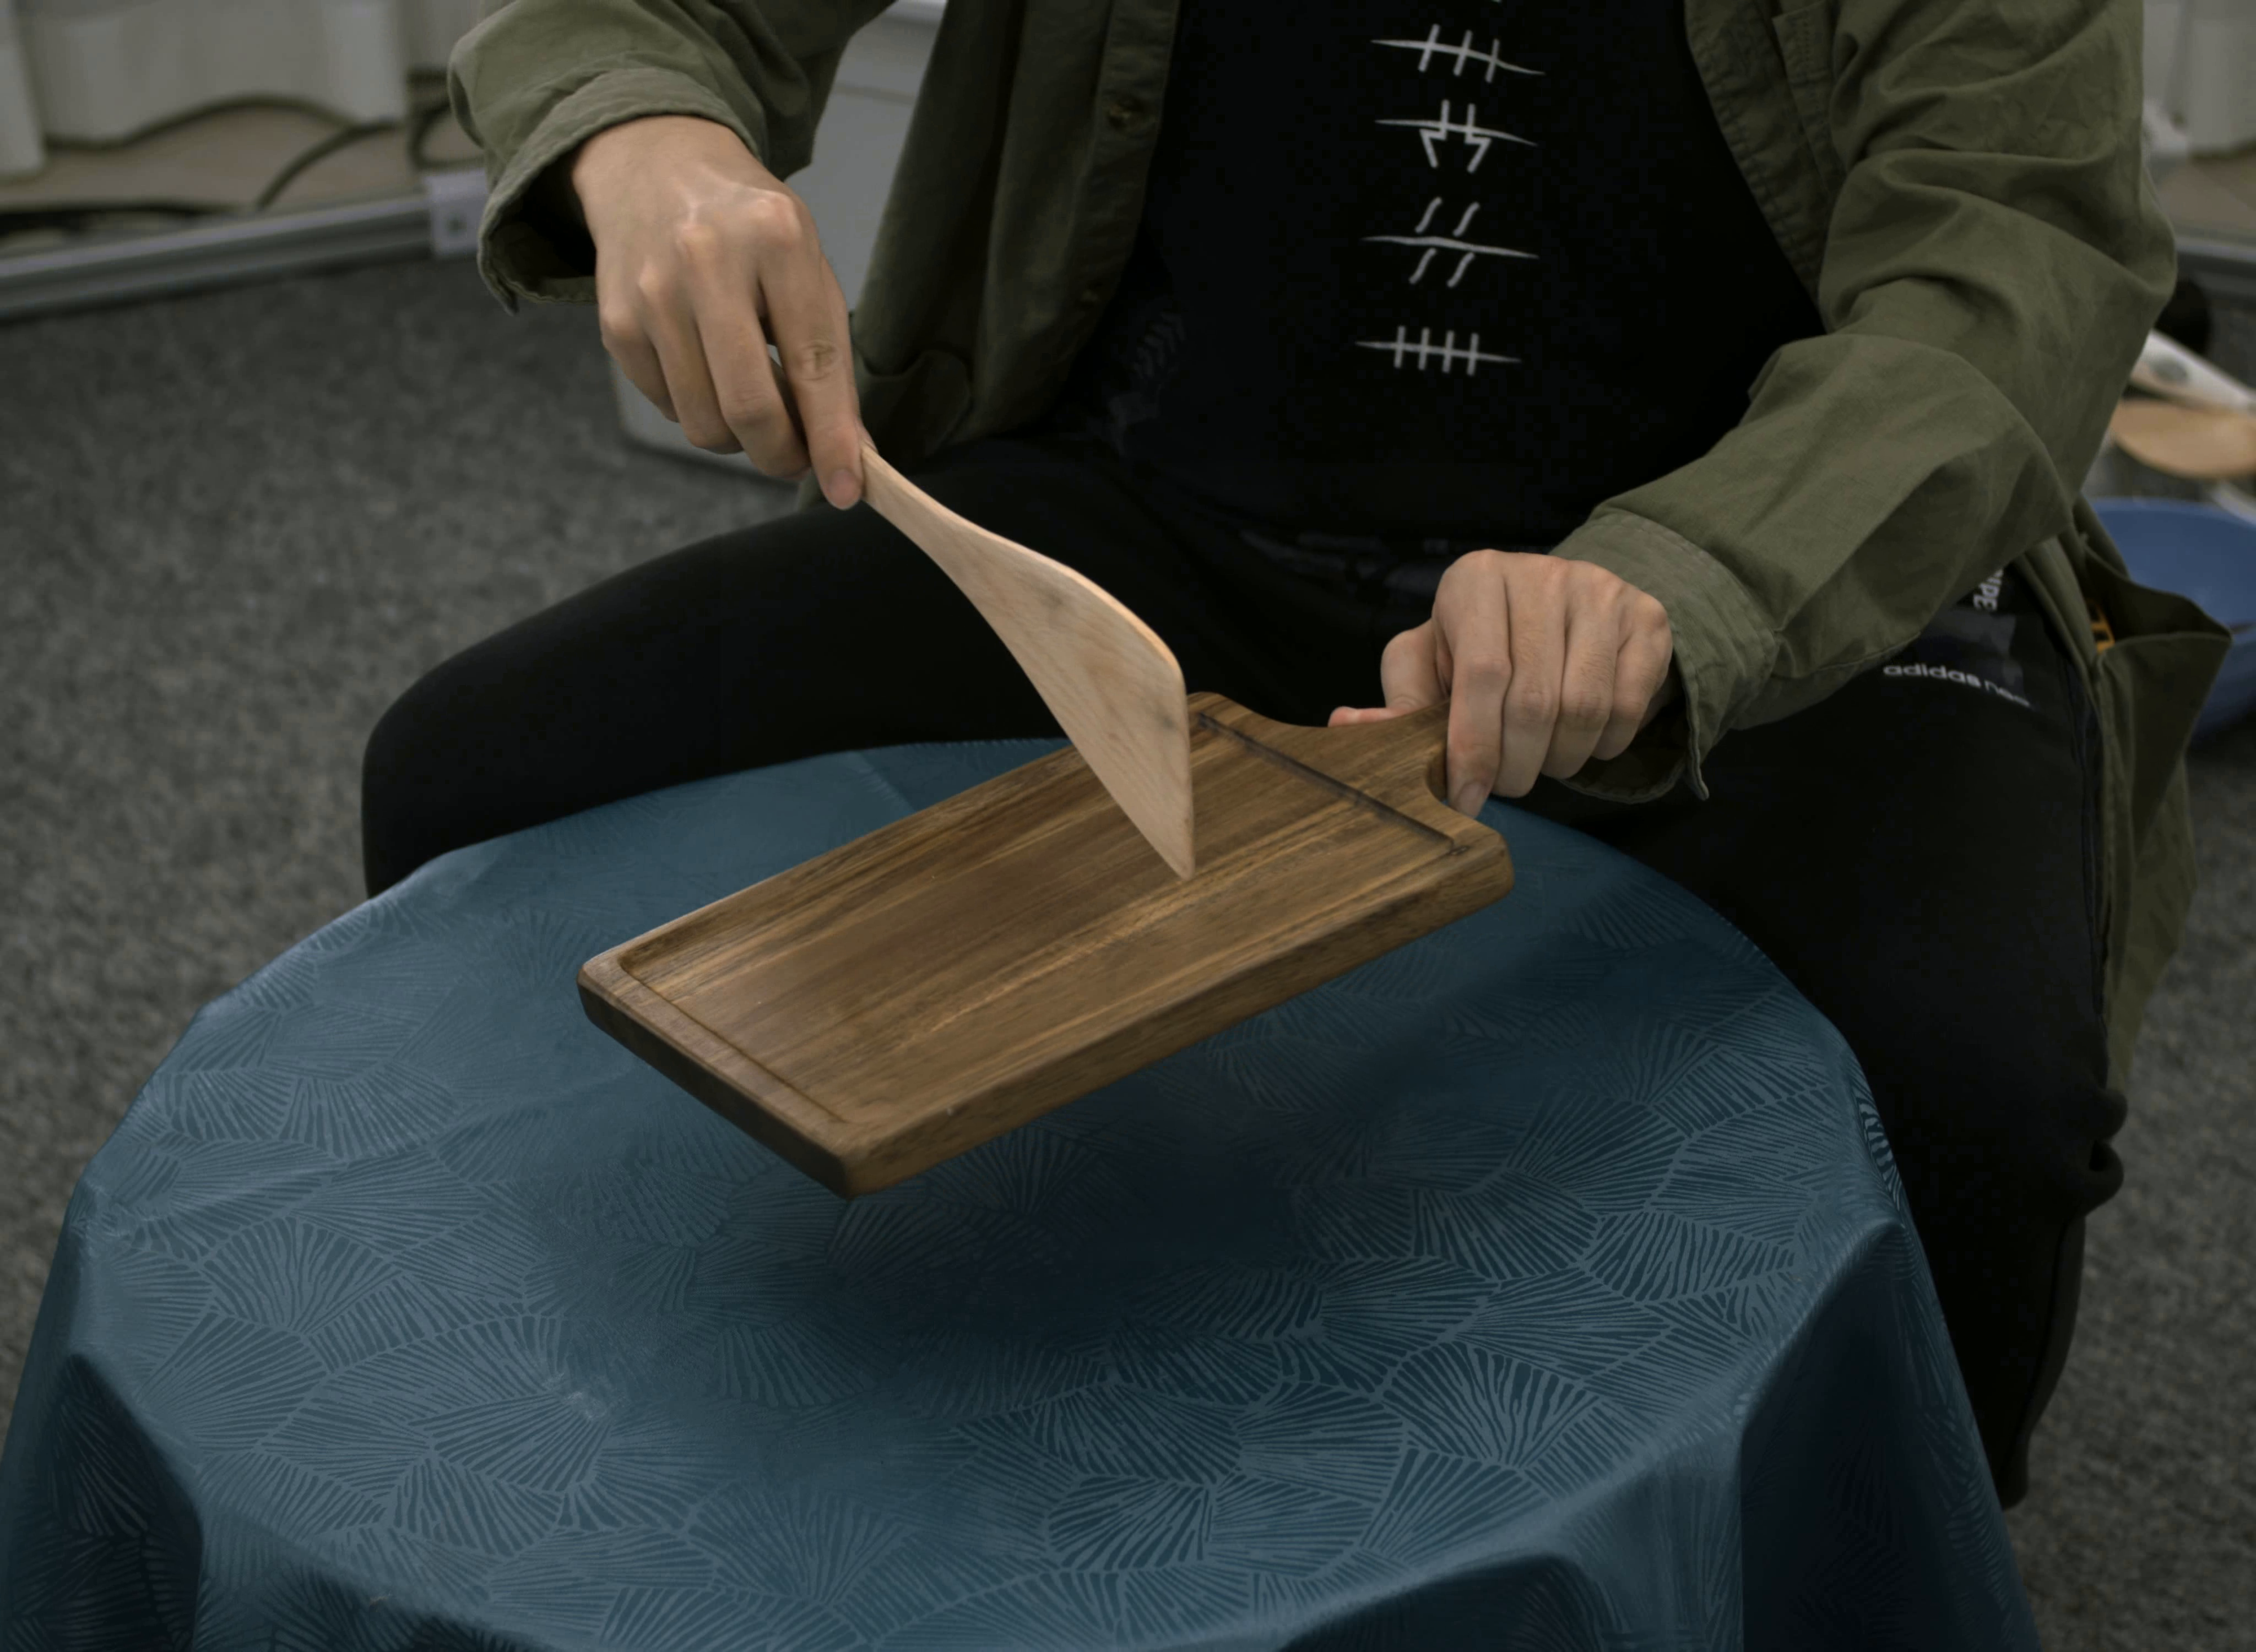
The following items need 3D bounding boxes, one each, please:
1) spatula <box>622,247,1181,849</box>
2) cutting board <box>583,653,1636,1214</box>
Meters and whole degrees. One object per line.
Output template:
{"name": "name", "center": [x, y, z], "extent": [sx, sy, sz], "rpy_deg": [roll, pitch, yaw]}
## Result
{"name": "spatula", "center": [-0.077, -0.106, 1.829], "extent": [0.016, 0.079, 0.329], "rpy_deg": [-24, 45, -29]}
{"name": "cutting board", "center": [0.016, 0.018, 1.807], "extent": [0.354, 0.023, 0.201], "rpy_deg": [-24, 26, -22]}
